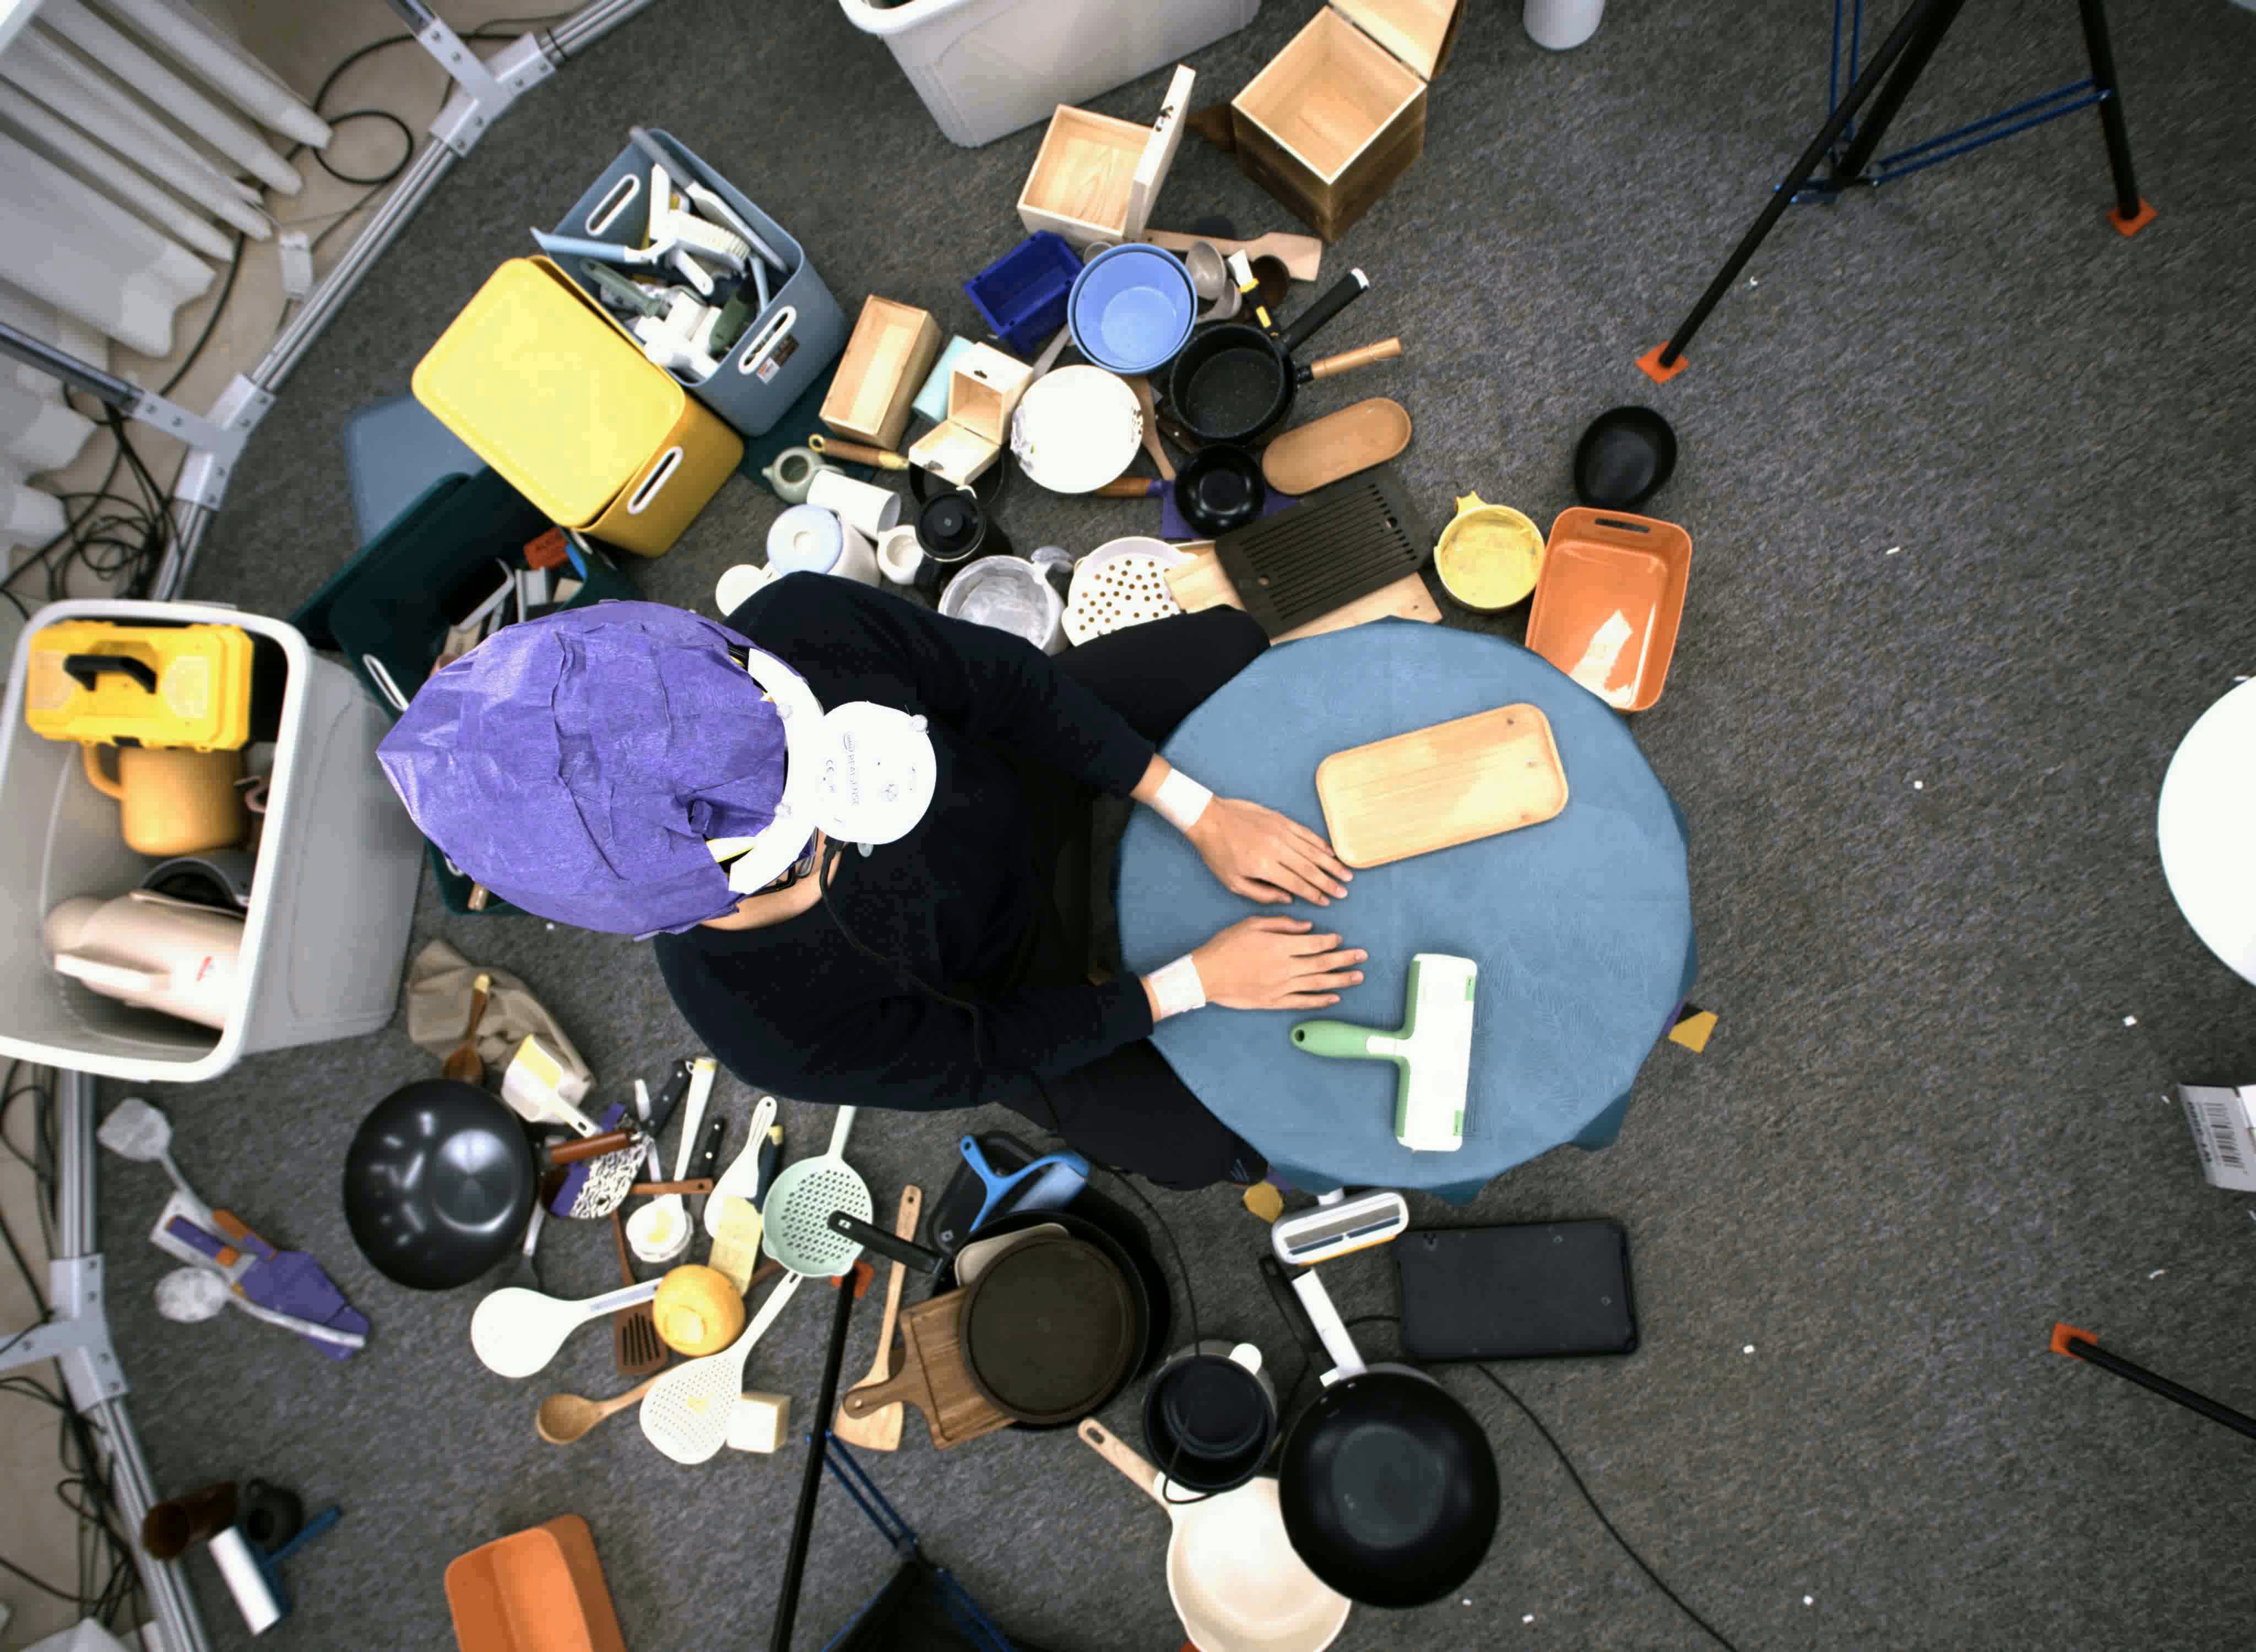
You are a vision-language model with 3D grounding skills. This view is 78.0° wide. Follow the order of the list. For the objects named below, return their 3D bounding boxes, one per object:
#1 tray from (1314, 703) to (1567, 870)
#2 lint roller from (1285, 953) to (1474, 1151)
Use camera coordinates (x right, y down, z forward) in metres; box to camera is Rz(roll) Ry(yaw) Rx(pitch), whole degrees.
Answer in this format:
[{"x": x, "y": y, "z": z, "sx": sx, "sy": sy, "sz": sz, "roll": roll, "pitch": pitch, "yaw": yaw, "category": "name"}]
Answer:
[{"x": 0.327, "y": -0.042, "z": 1.447, "sx": 0.252, "sy": 0.023, "sz": 0.129, "roll": -15, "pitch": 82, "yaw": 10, "category": "tray"}, {"x": 0.253, "y": 0.222, "z": 1.410, "sx": 0.184, "sy": 0.082, "sz": 0.198, "roll": 5, "pitch": 87, "yaw": 5, "category": "lint roller"}]
